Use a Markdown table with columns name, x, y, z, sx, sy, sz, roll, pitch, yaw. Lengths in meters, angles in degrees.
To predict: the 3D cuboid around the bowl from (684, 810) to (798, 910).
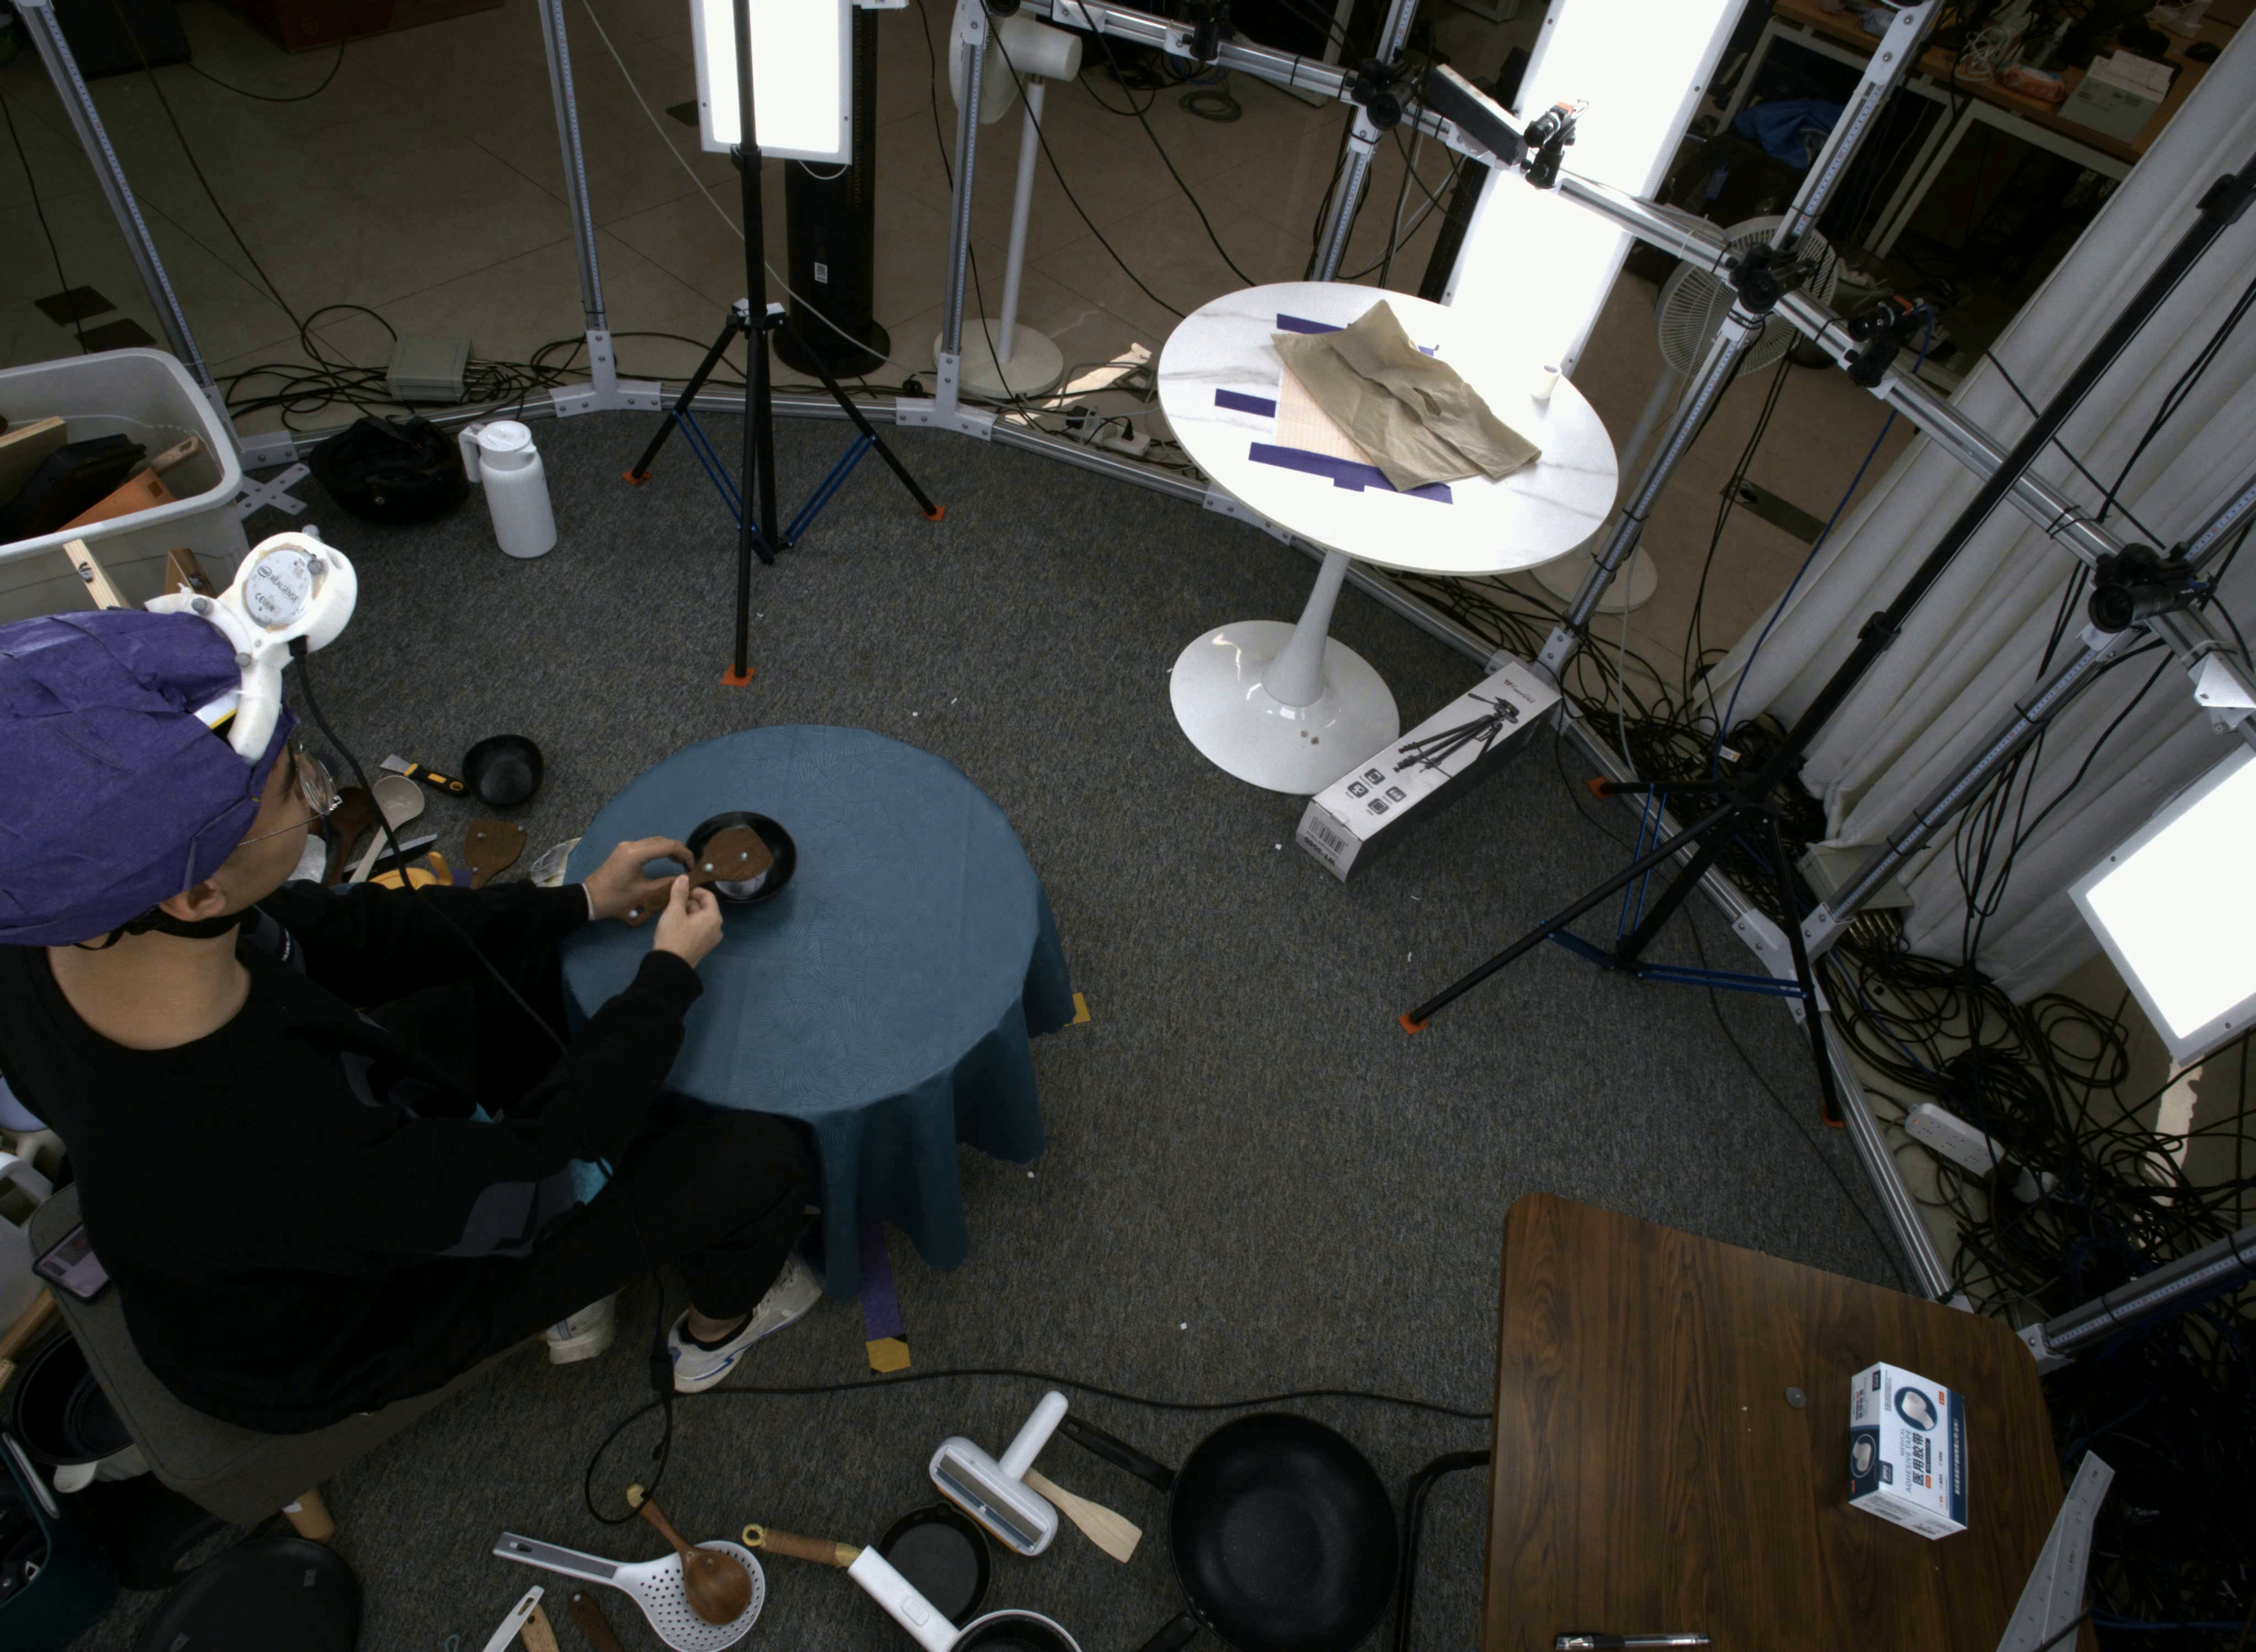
| name | x | y | z | sx | sy | sz | roll | pitch | yaw |
| --- | --- | --- | --- | --- | --- | --- | --- | --- | --- |
| bowl | -0.488 | 0.049 | 1.631 | 0.140 | 0.050 | 0.138 | 10 | 56 | -13 |

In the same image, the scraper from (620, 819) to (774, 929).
| name | x | y | z | sx | sy | sz | roll | pitch | yaw |
| --- | --- | --- | --- | --- | --- | --- | --- | --- | --- |
| scraper | -0.512 | 0.061 | 1.520 | 0.076 | 0.011 | 0.212 | 55 | 43 | -3 |
